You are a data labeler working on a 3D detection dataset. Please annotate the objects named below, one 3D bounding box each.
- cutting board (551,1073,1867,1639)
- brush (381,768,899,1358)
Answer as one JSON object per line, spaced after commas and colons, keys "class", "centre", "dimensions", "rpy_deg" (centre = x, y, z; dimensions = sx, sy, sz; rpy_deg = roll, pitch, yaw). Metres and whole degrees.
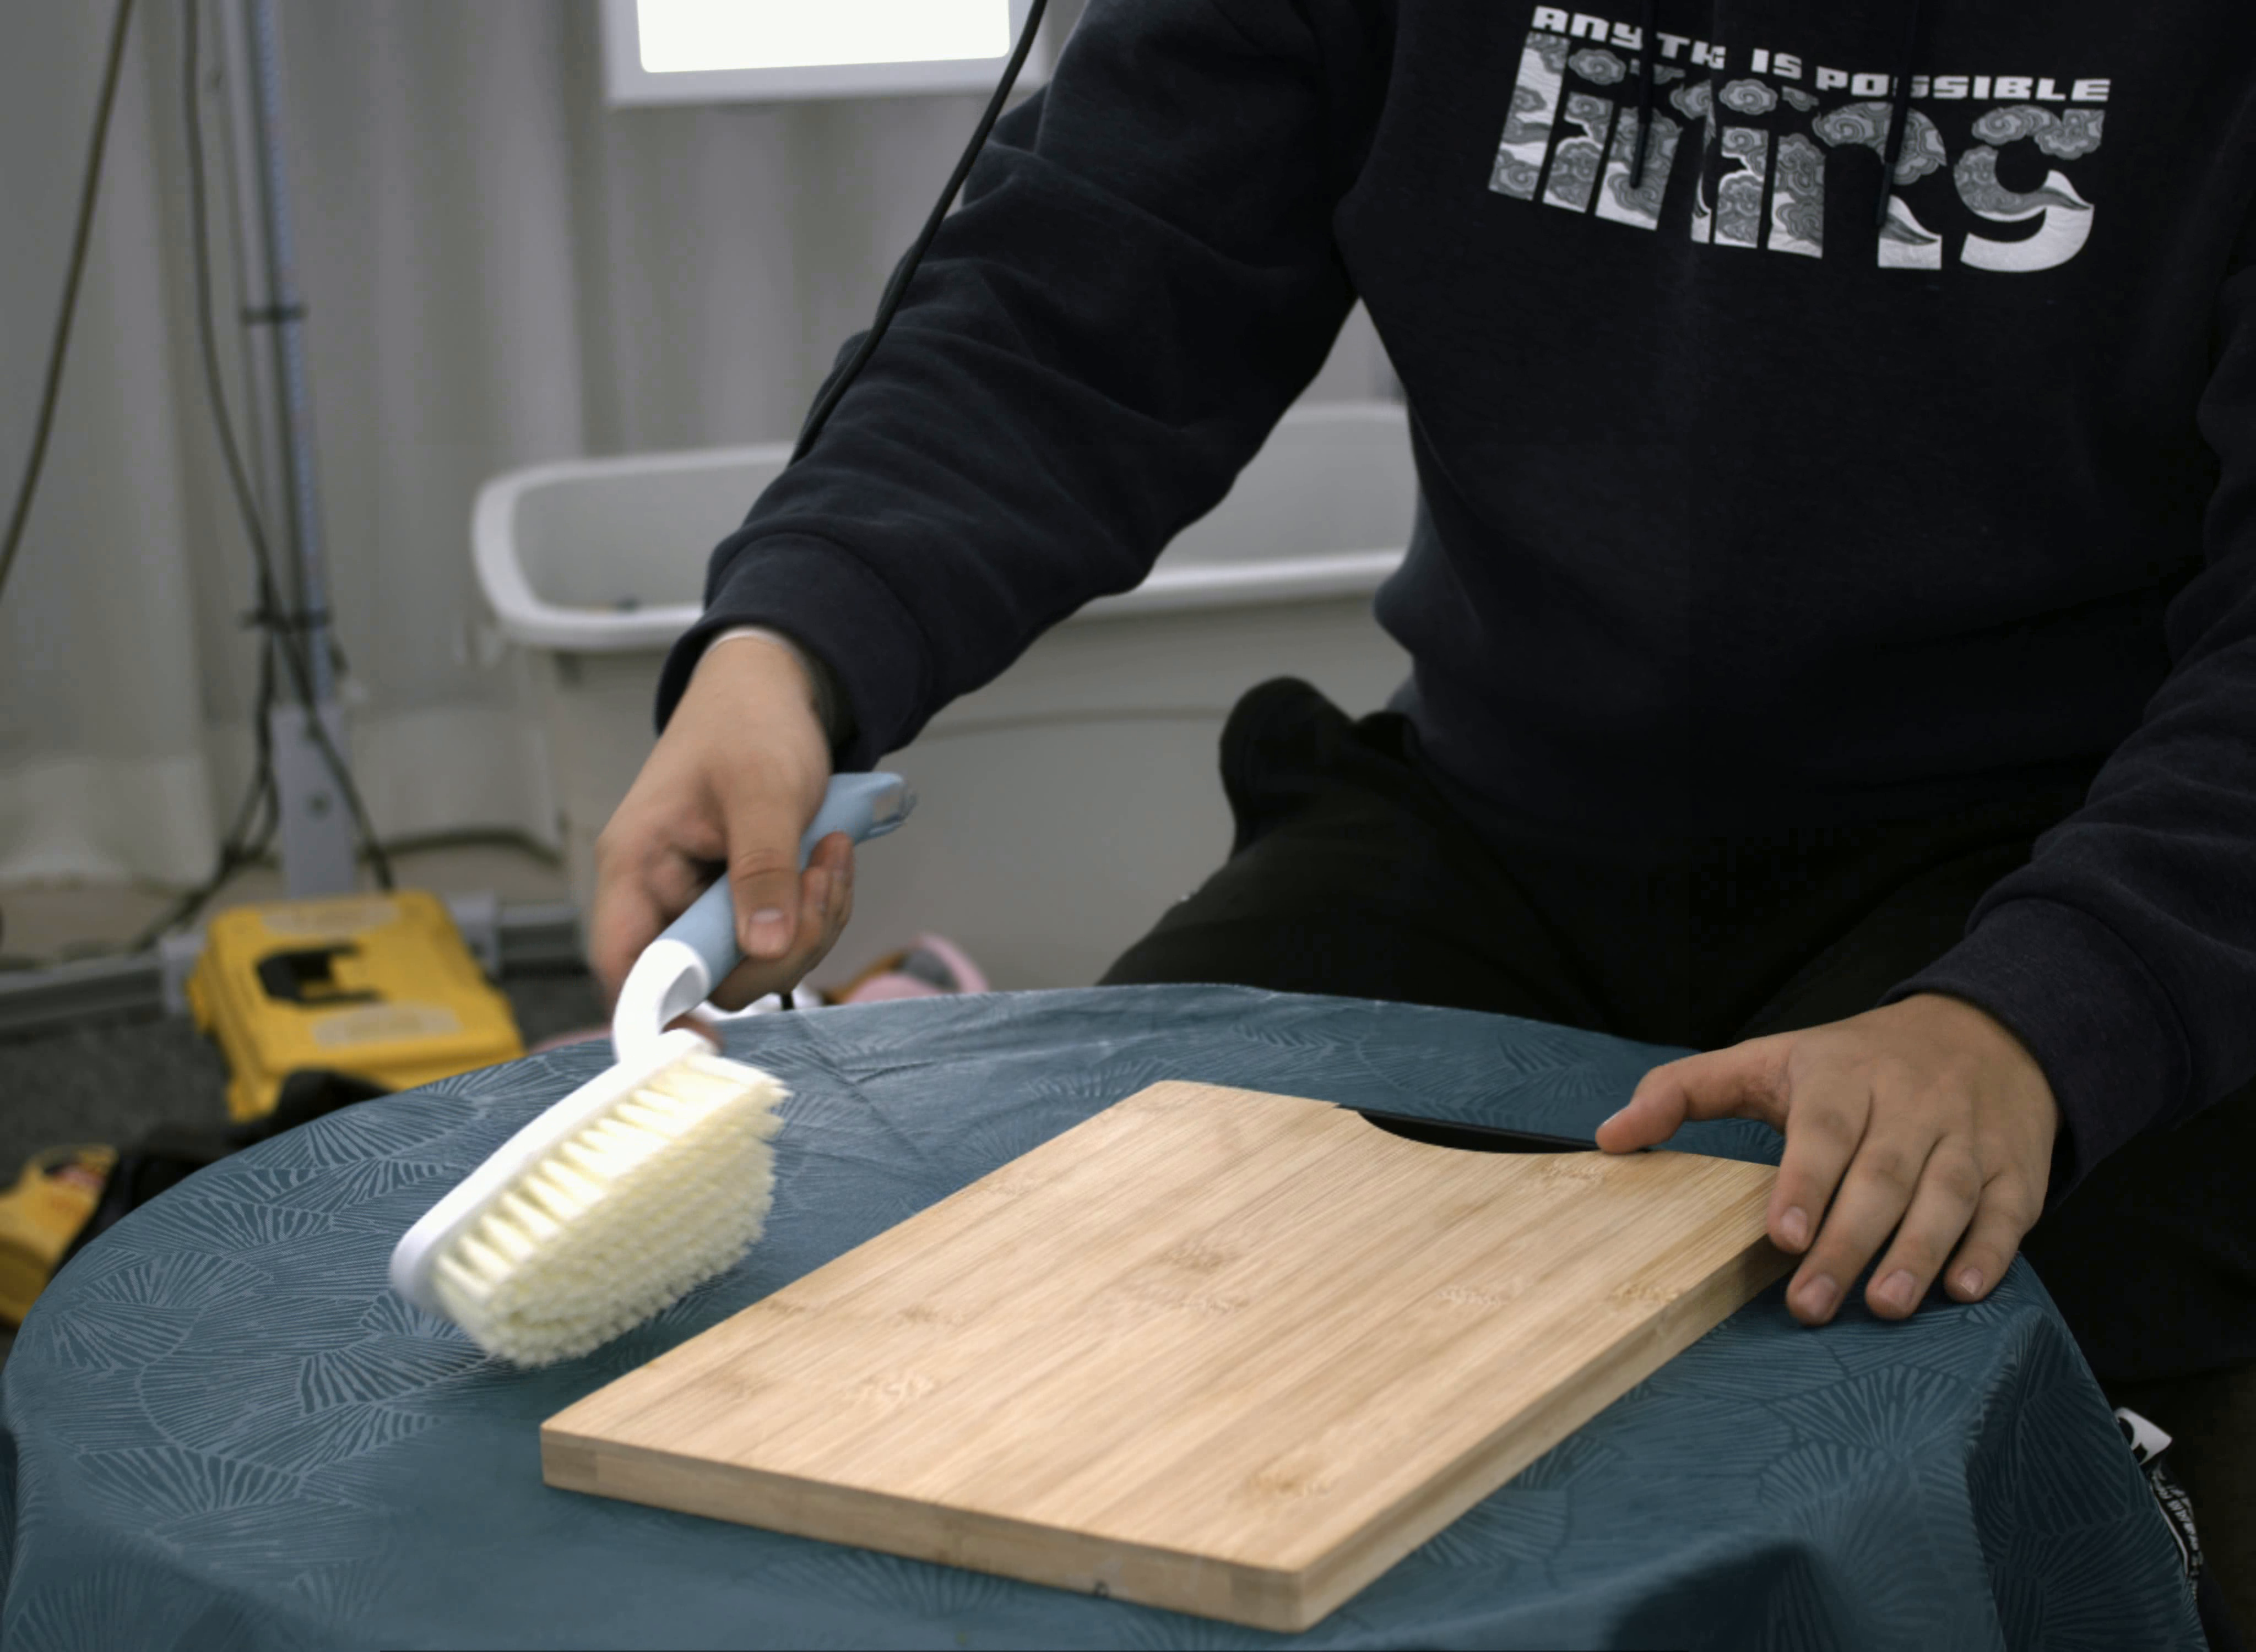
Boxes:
{"class": "cutting board", "centre": [0.031, 0.143, 1.576], "dimensions": [0.251, 0.023, 0.349], "rpy_deg": [7, 18, 30]}
{"class": "brush", "centre": [-0.118, 0.064, 1.688], "dimensions": [0.082, 0.084, 0.328], "rpy_deg": [-44, 3, 36]}
